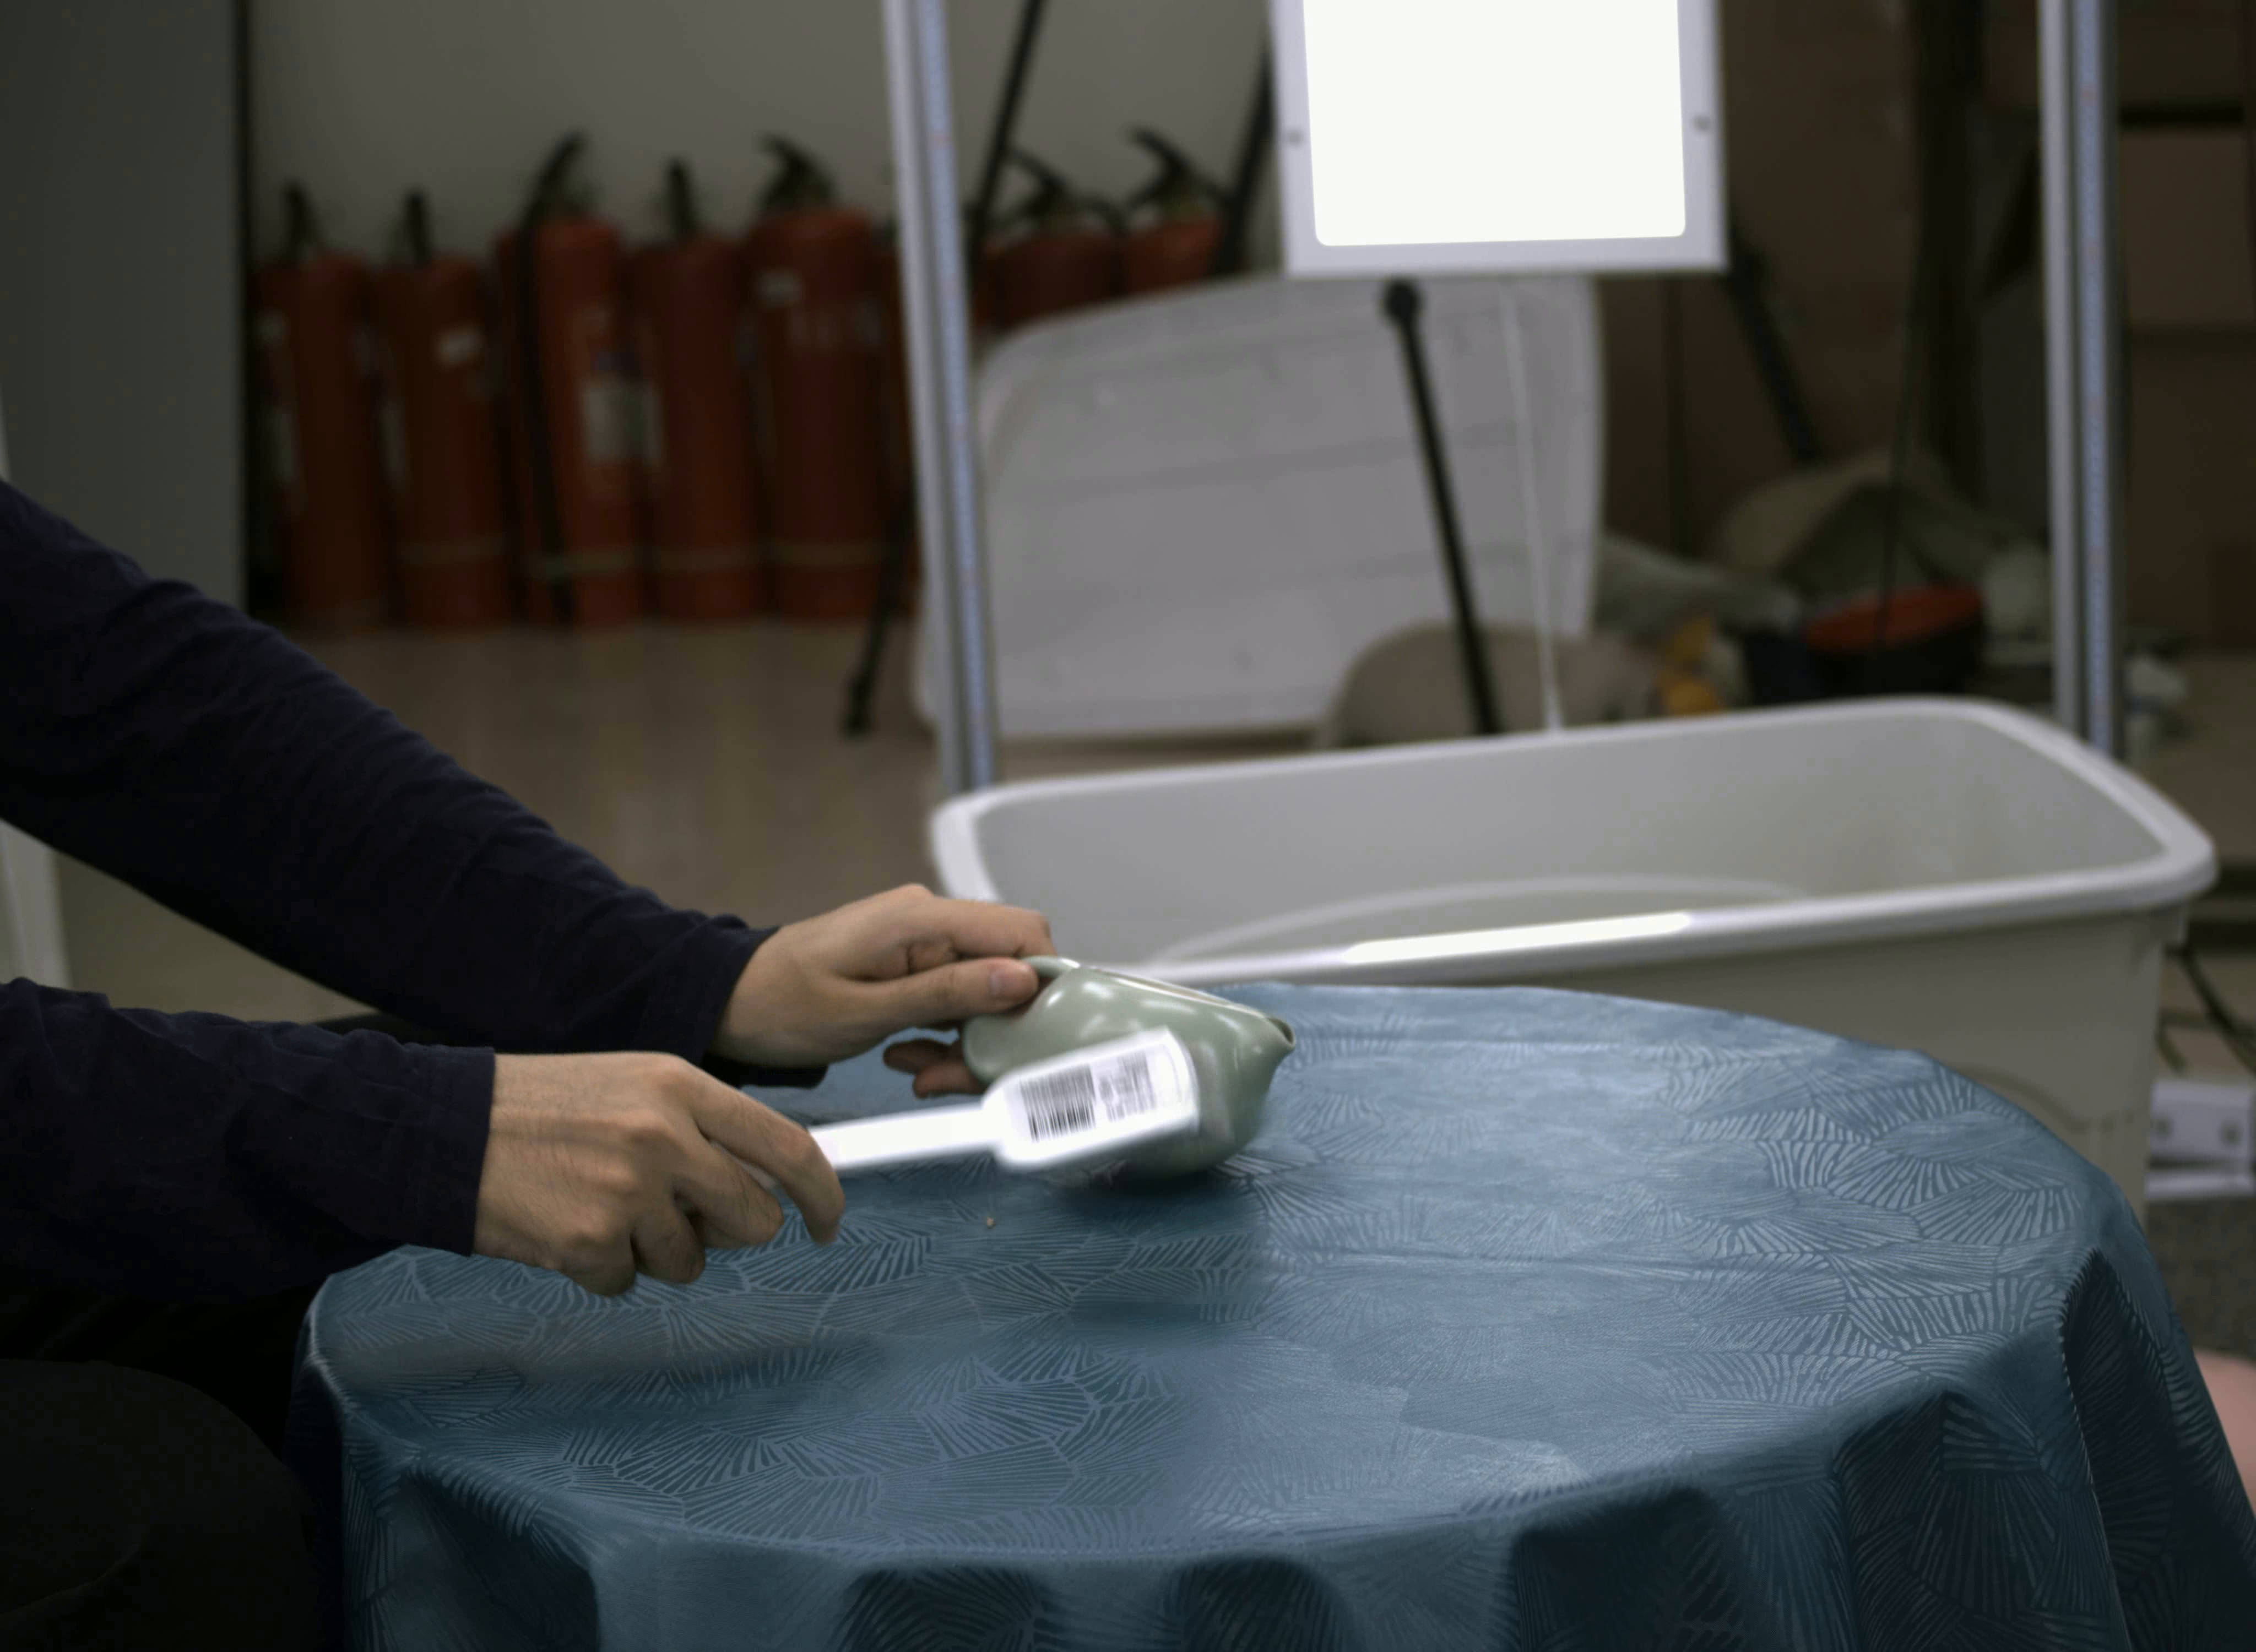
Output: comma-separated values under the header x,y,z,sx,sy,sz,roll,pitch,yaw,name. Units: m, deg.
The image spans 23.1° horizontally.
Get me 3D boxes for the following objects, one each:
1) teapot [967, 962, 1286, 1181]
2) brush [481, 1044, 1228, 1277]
x,y,z,sx,sy,sz,roll,pitch,yaw,name
-0.003,0.085,1.914,0.131,0.061,0.089,15,9,35,teapot
-0.087,0.113,1.779,0.242,0.034,0.050,-13,-15,-2,brush
